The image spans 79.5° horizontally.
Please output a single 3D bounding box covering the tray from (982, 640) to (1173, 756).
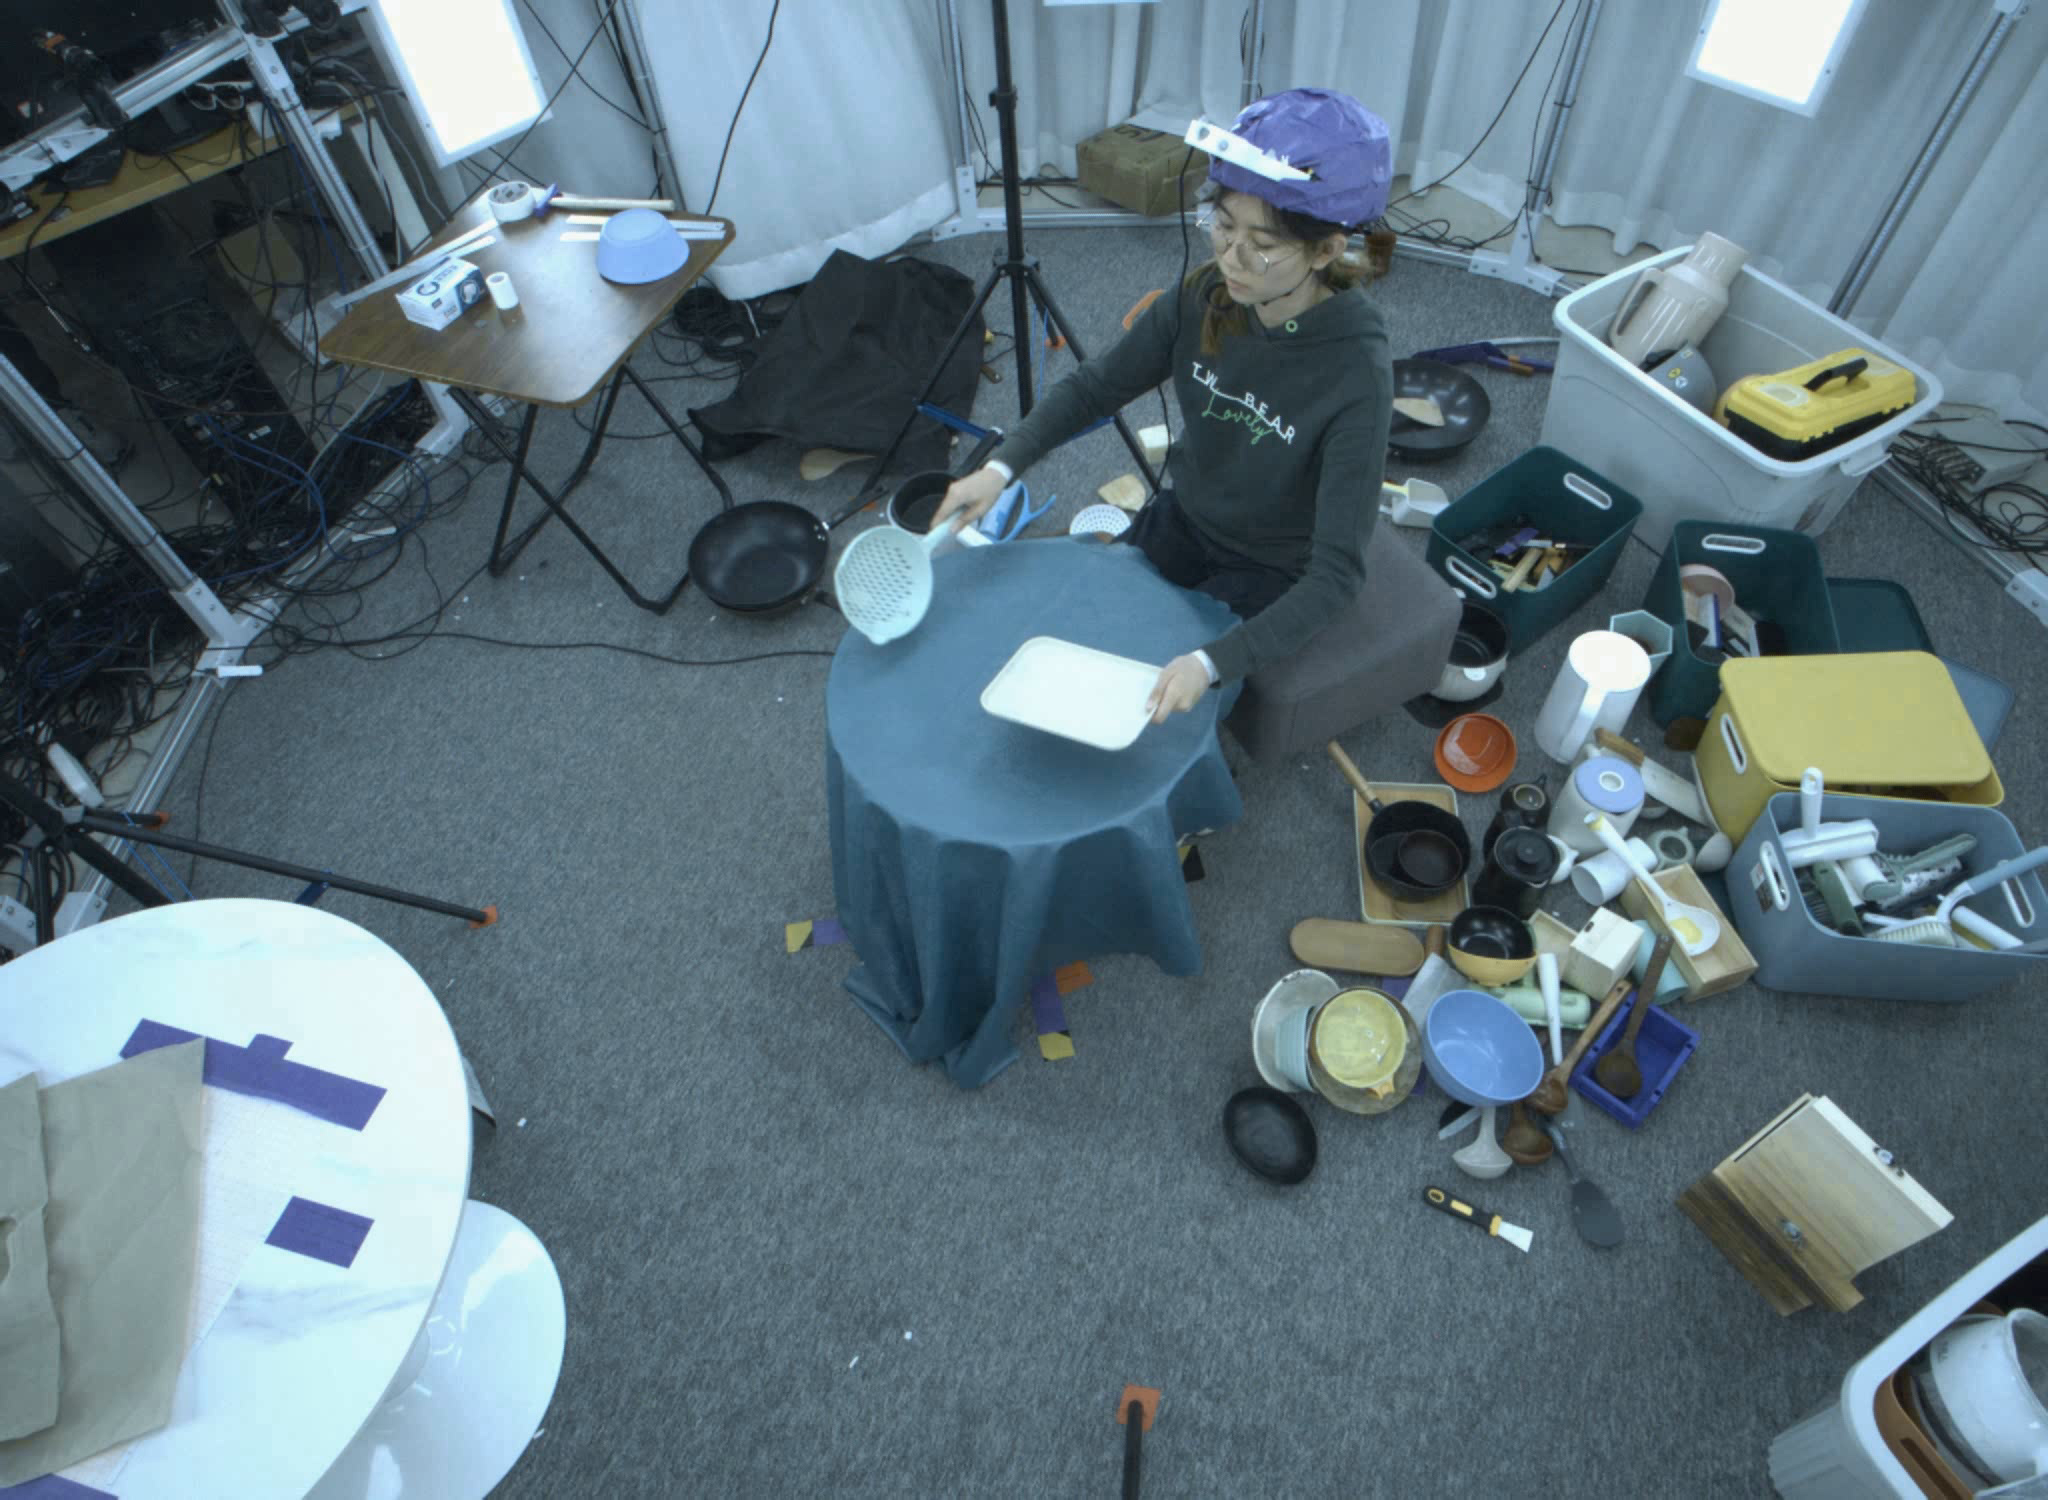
[{"bbox_3d":[0.074,-0.074,1.715,0.235,0.018,0.172,19,51,23],"label":"tray"}]

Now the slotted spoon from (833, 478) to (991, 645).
[{"bbox_3d":[-0.161,-0.317,1.888,0.361,0.172,0.073,-43,39,-21],"label":"slotted spoon"}]
